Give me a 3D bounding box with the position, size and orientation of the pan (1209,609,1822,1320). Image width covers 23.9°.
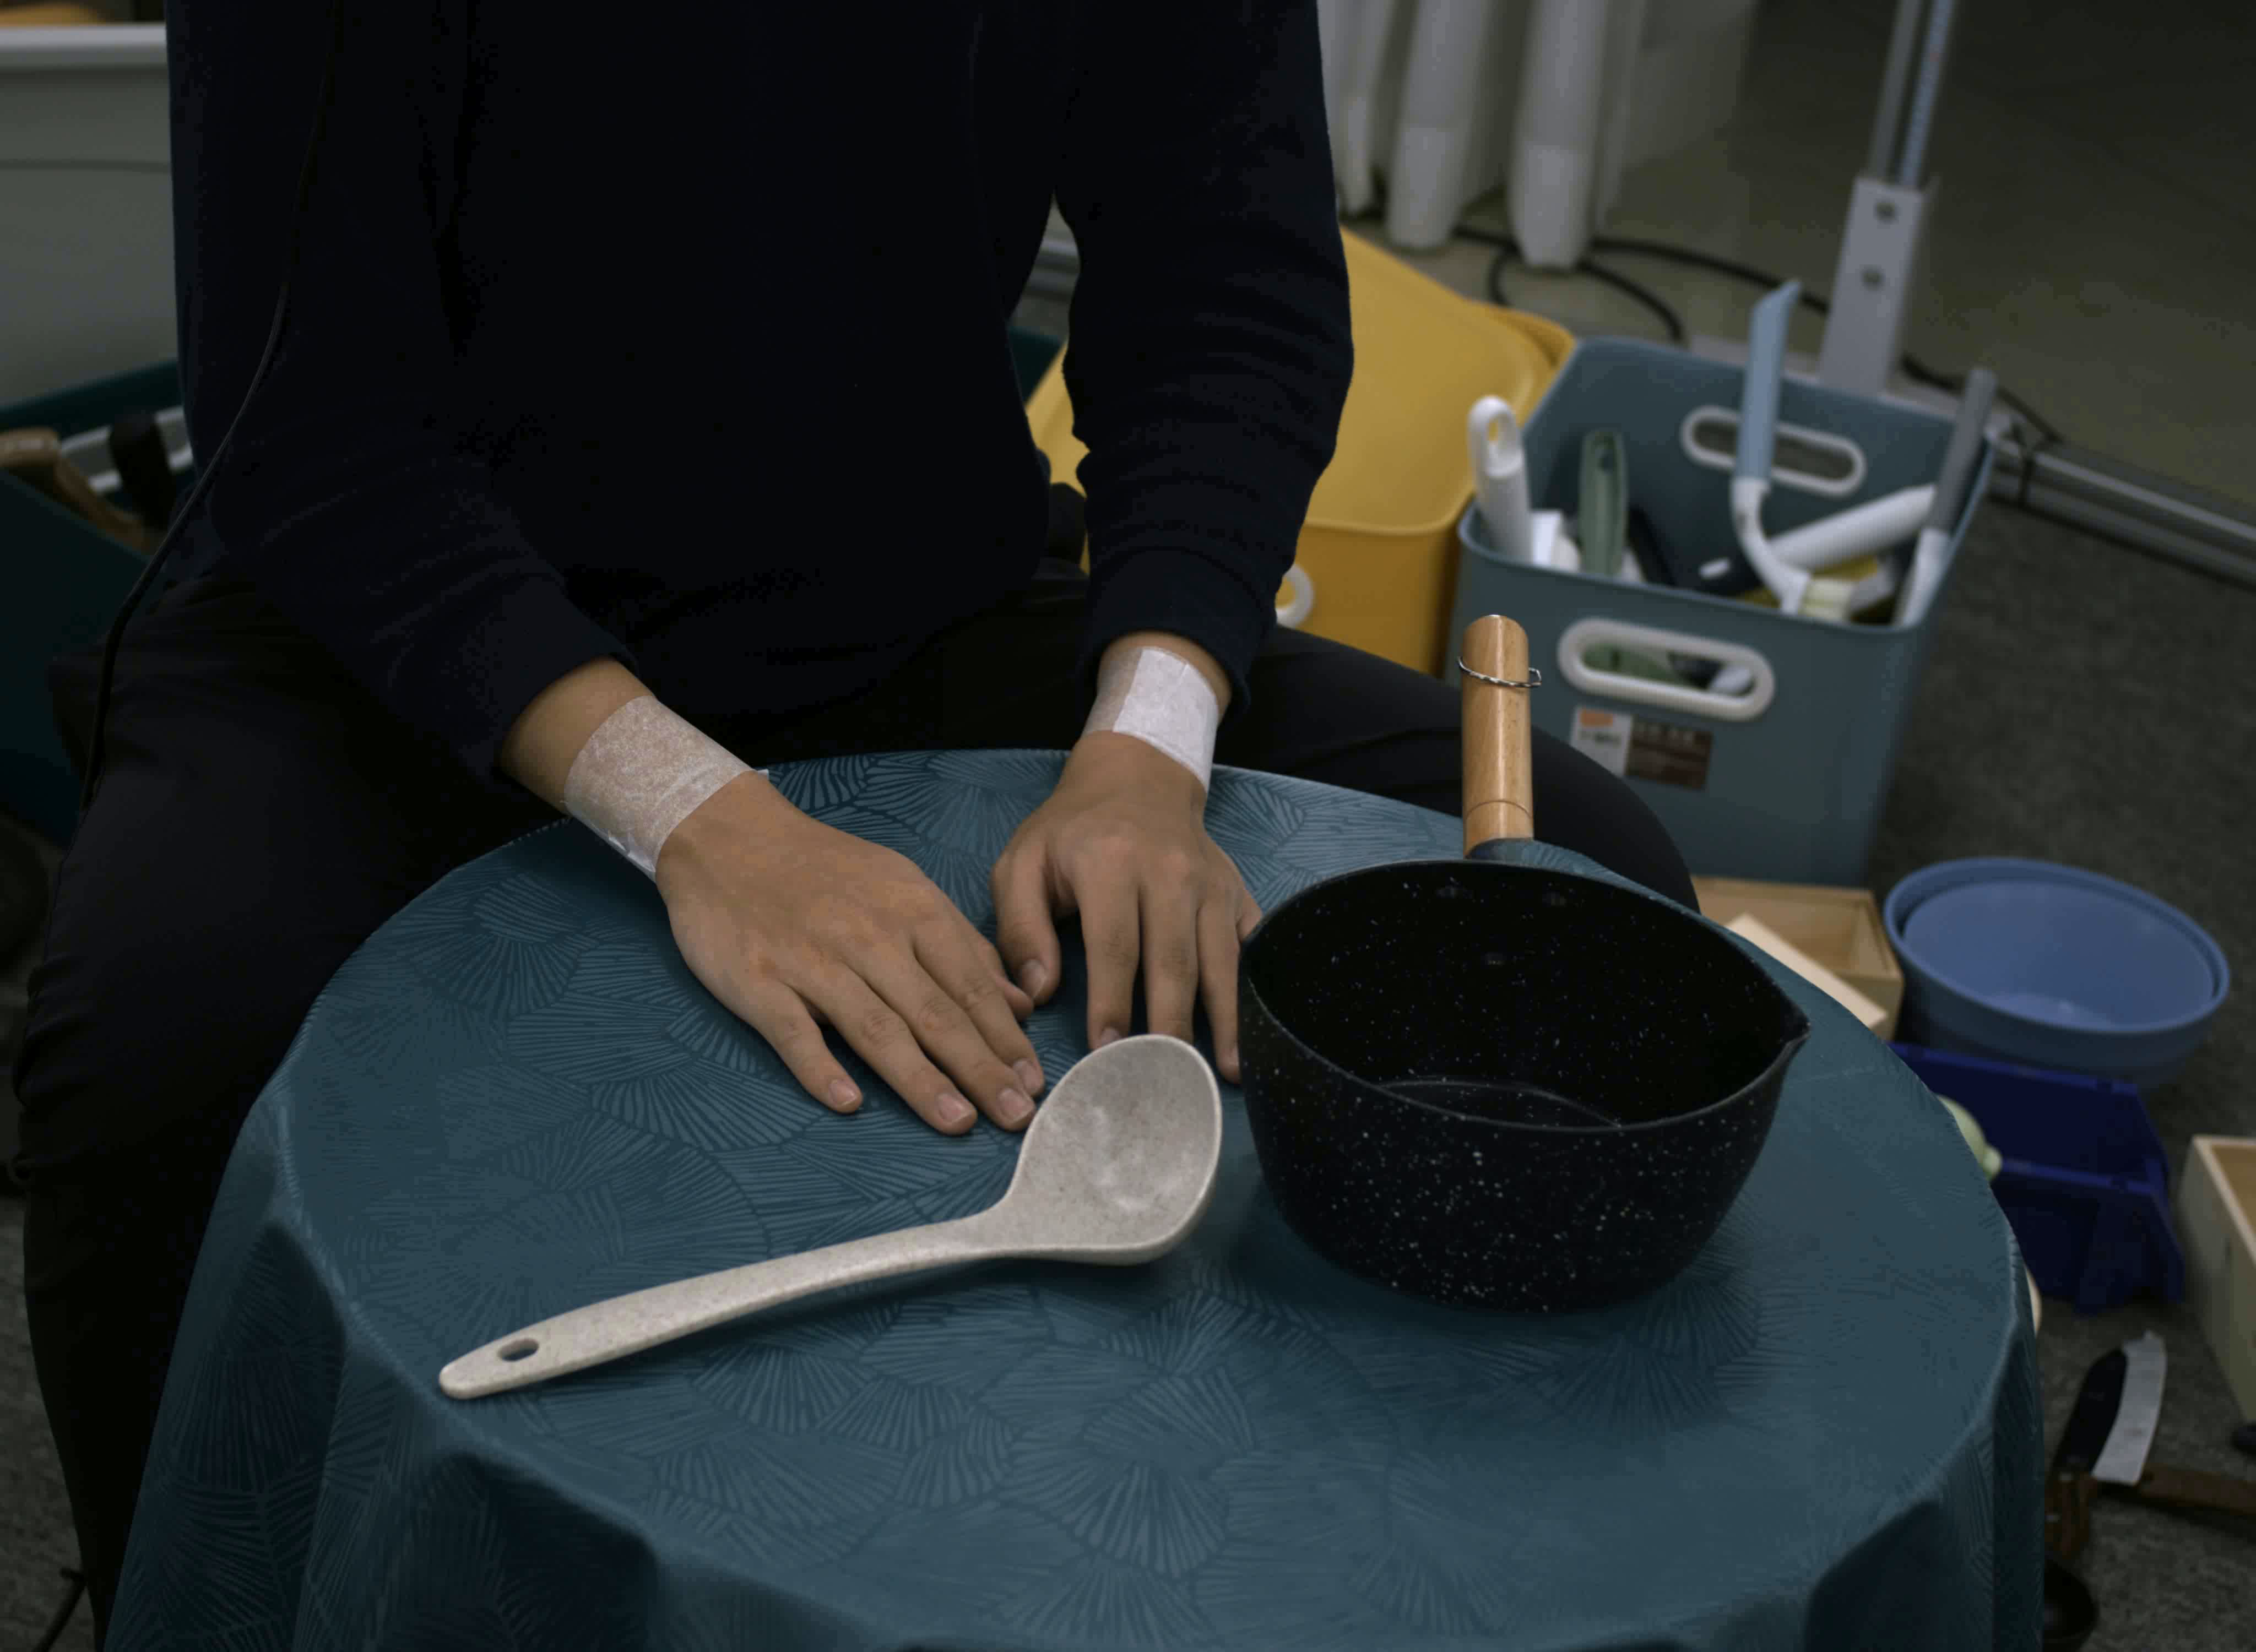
[{"bbox_3d":[0.128,0.044,1.868,0.207,0.108,0.345,4,28,-2],"label":"pan"}]

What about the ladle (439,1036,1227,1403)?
[{"bbox_3d":[-0.093,0.126,1.702,0.273,0.069,0.090,-10,36,-30],"label":"ladle"}]
